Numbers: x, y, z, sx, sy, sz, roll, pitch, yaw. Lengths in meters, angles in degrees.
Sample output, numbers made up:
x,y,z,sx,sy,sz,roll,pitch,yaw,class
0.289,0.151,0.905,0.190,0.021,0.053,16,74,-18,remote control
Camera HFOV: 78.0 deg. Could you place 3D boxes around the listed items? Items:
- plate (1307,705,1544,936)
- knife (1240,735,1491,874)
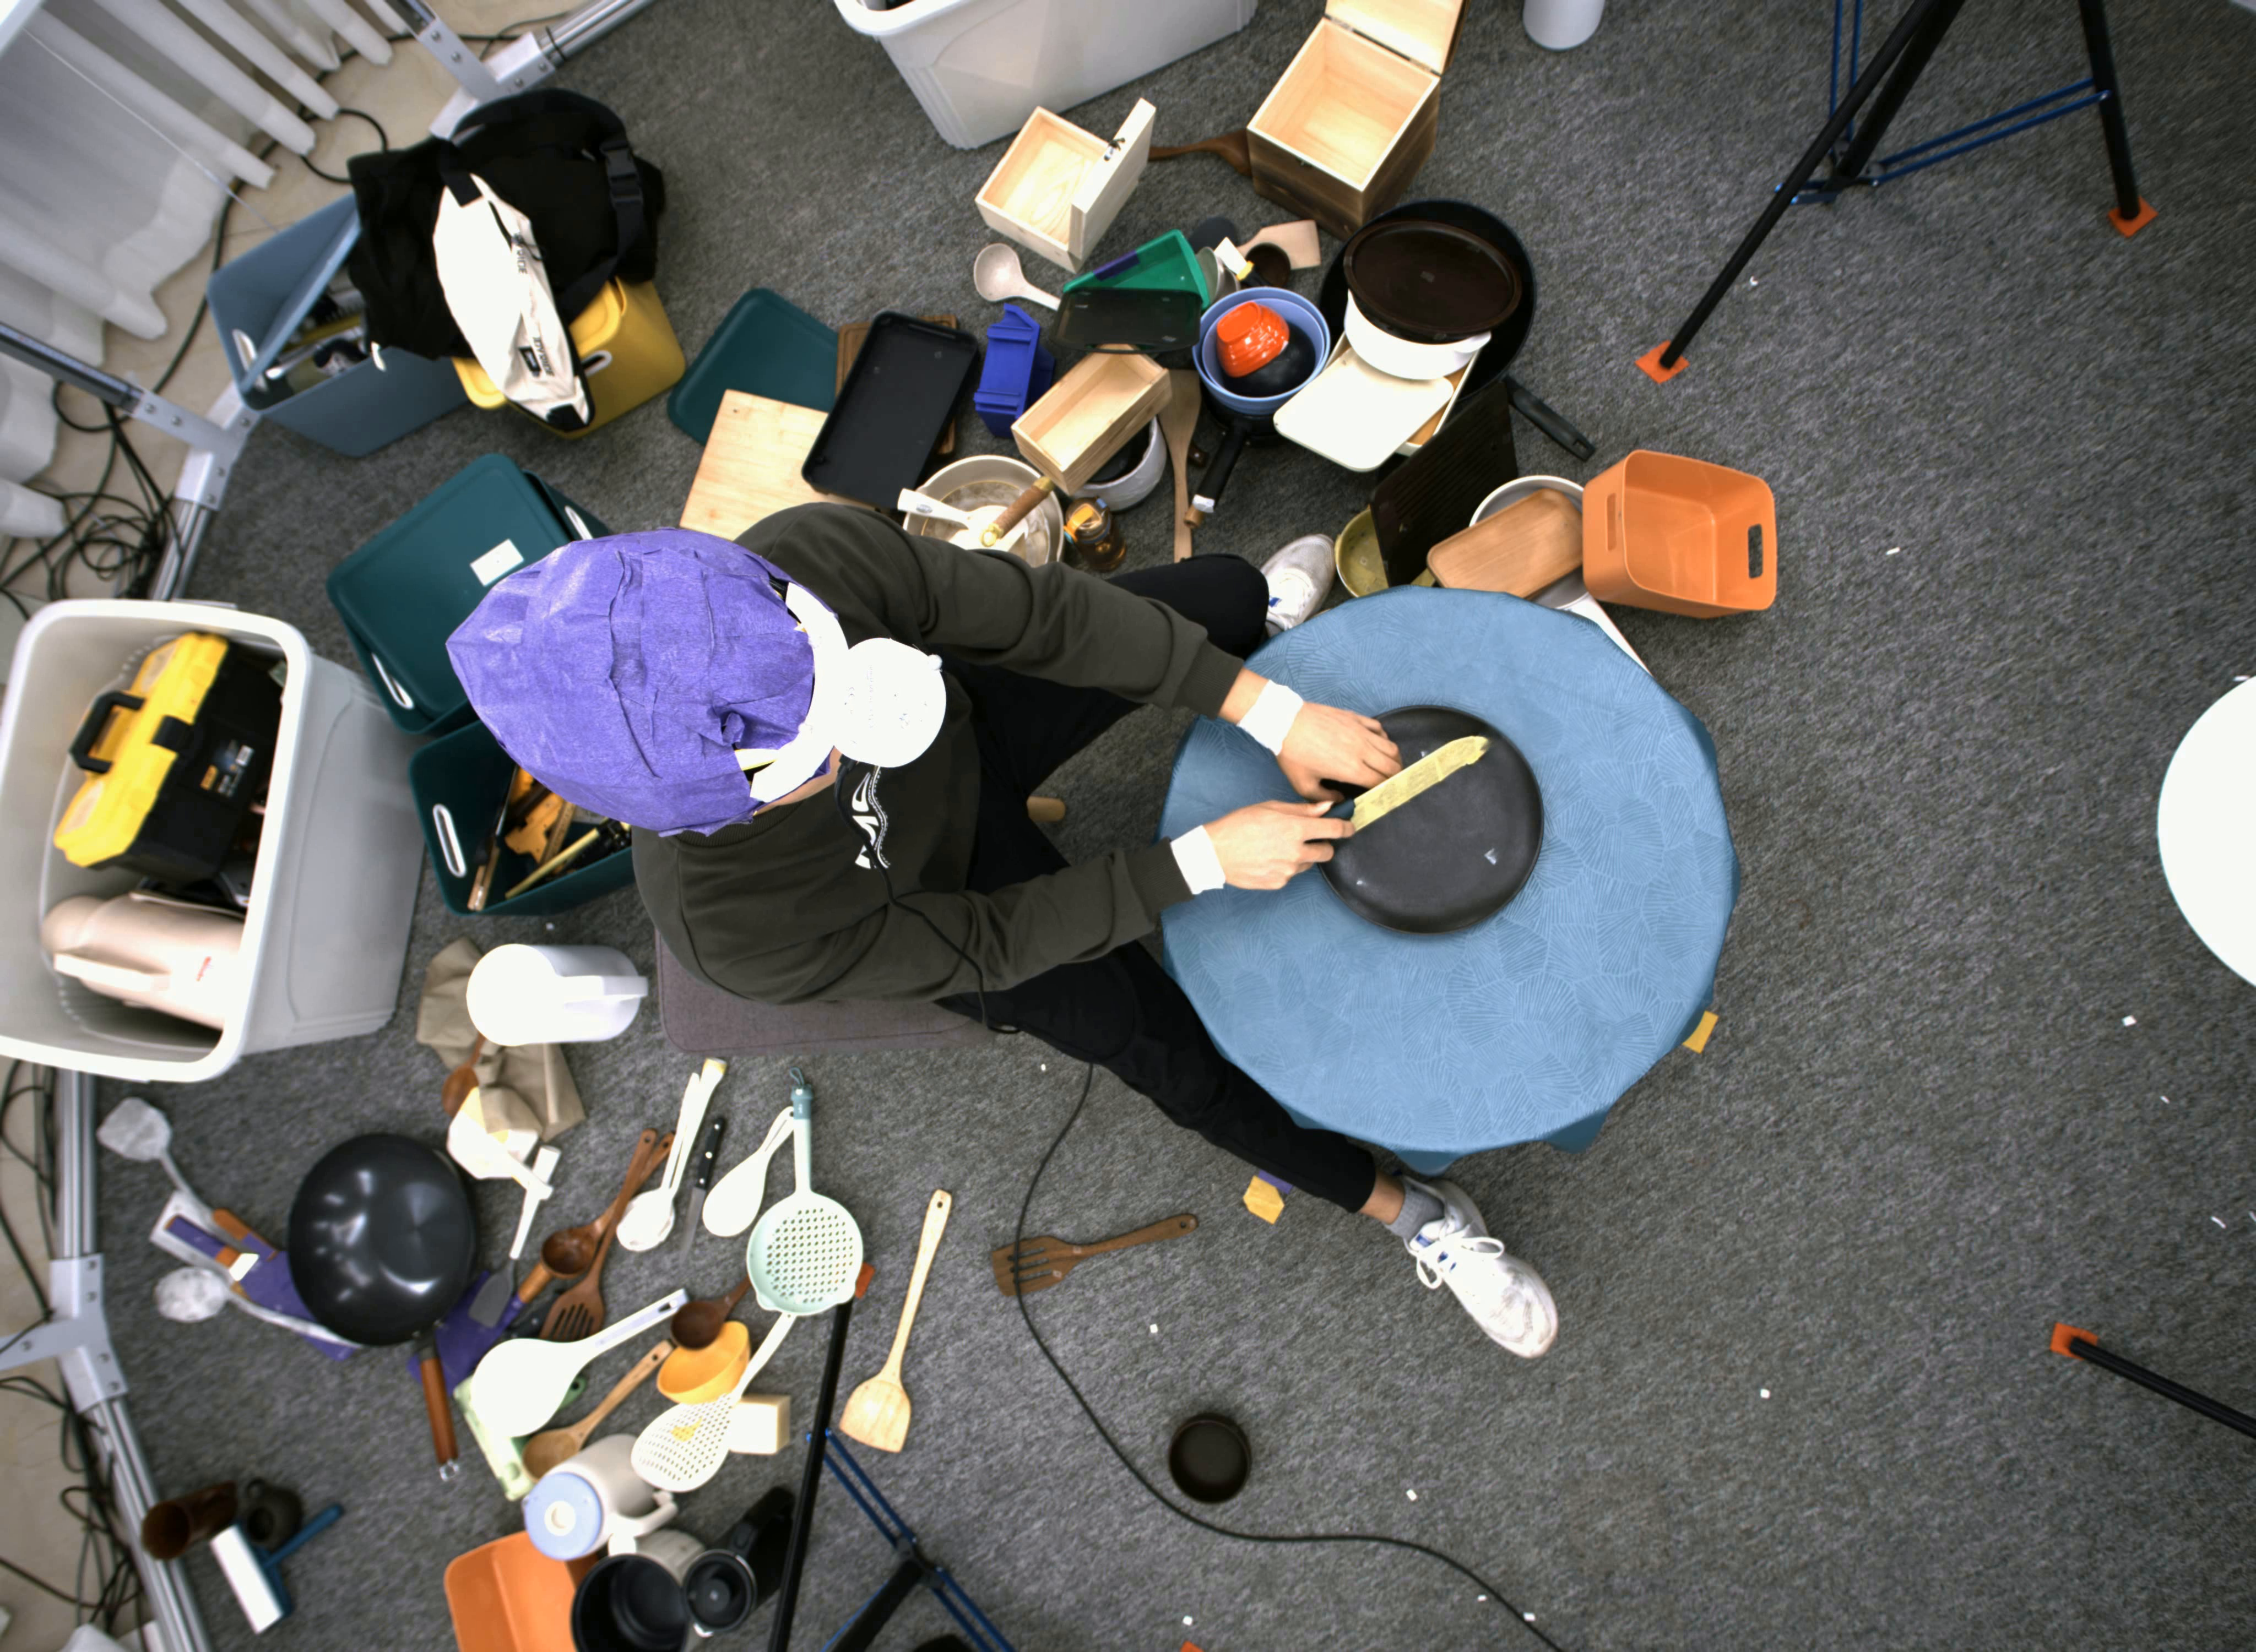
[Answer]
x,y,z,sx,sy,sz,roll,pitch,yaw,class
0.311,-0.007,1.445,0.245,0.023,0.243,-1,87,11,plate
0.247,-0.022,1.424,0.291,0.082,0.027,-28,60,5,knife
